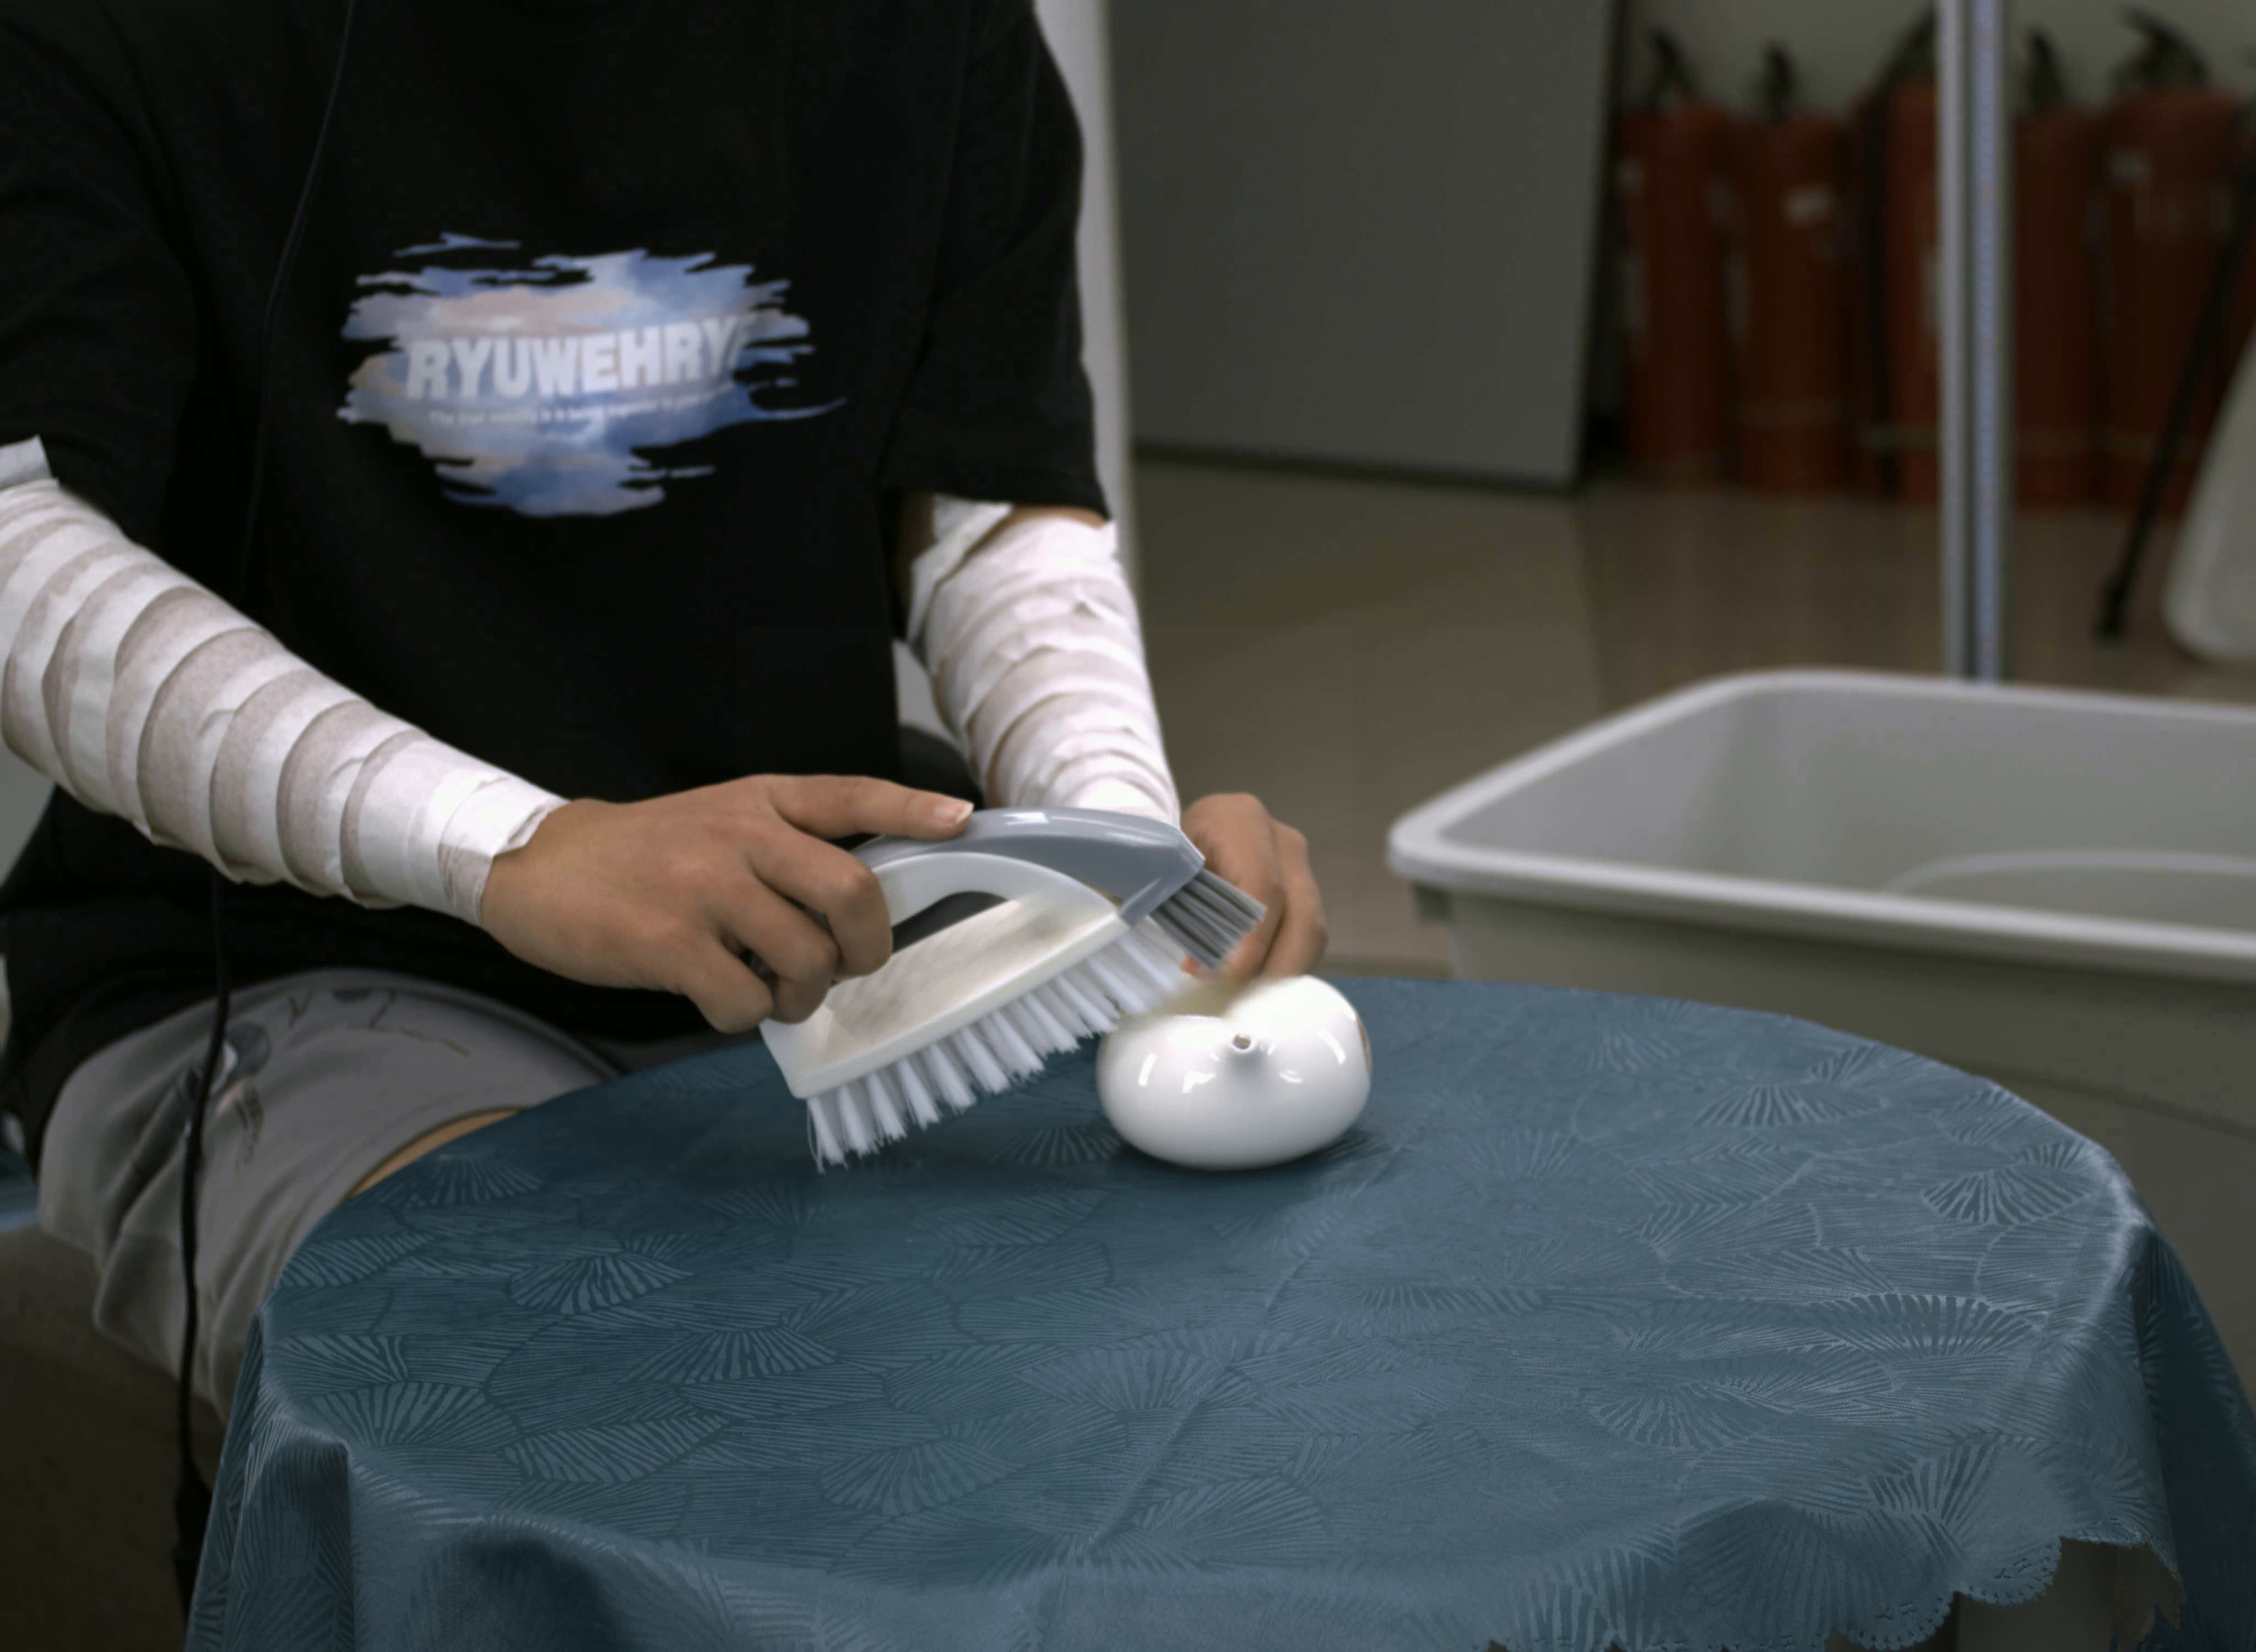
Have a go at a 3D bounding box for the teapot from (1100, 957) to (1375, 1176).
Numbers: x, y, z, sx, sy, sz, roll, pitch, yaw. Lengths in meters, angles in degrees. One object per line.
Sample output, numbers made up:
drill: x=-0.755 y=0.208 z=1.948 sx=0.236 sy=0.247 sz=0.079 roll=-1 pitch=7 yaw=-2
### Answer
teapot: x=0.035 y=0.080 z=1.817 sx=0.092 sy=0.057 sz=0.128 roll=-9 pitch=13 yaw=-5

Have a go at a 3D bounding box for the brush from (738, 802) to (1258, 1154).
brush: x=-0.051 y=0.034 z=1.794 sx=0.176 sy=0.094 sz=0.061 roll=-25 pitch=27 yaw=22
